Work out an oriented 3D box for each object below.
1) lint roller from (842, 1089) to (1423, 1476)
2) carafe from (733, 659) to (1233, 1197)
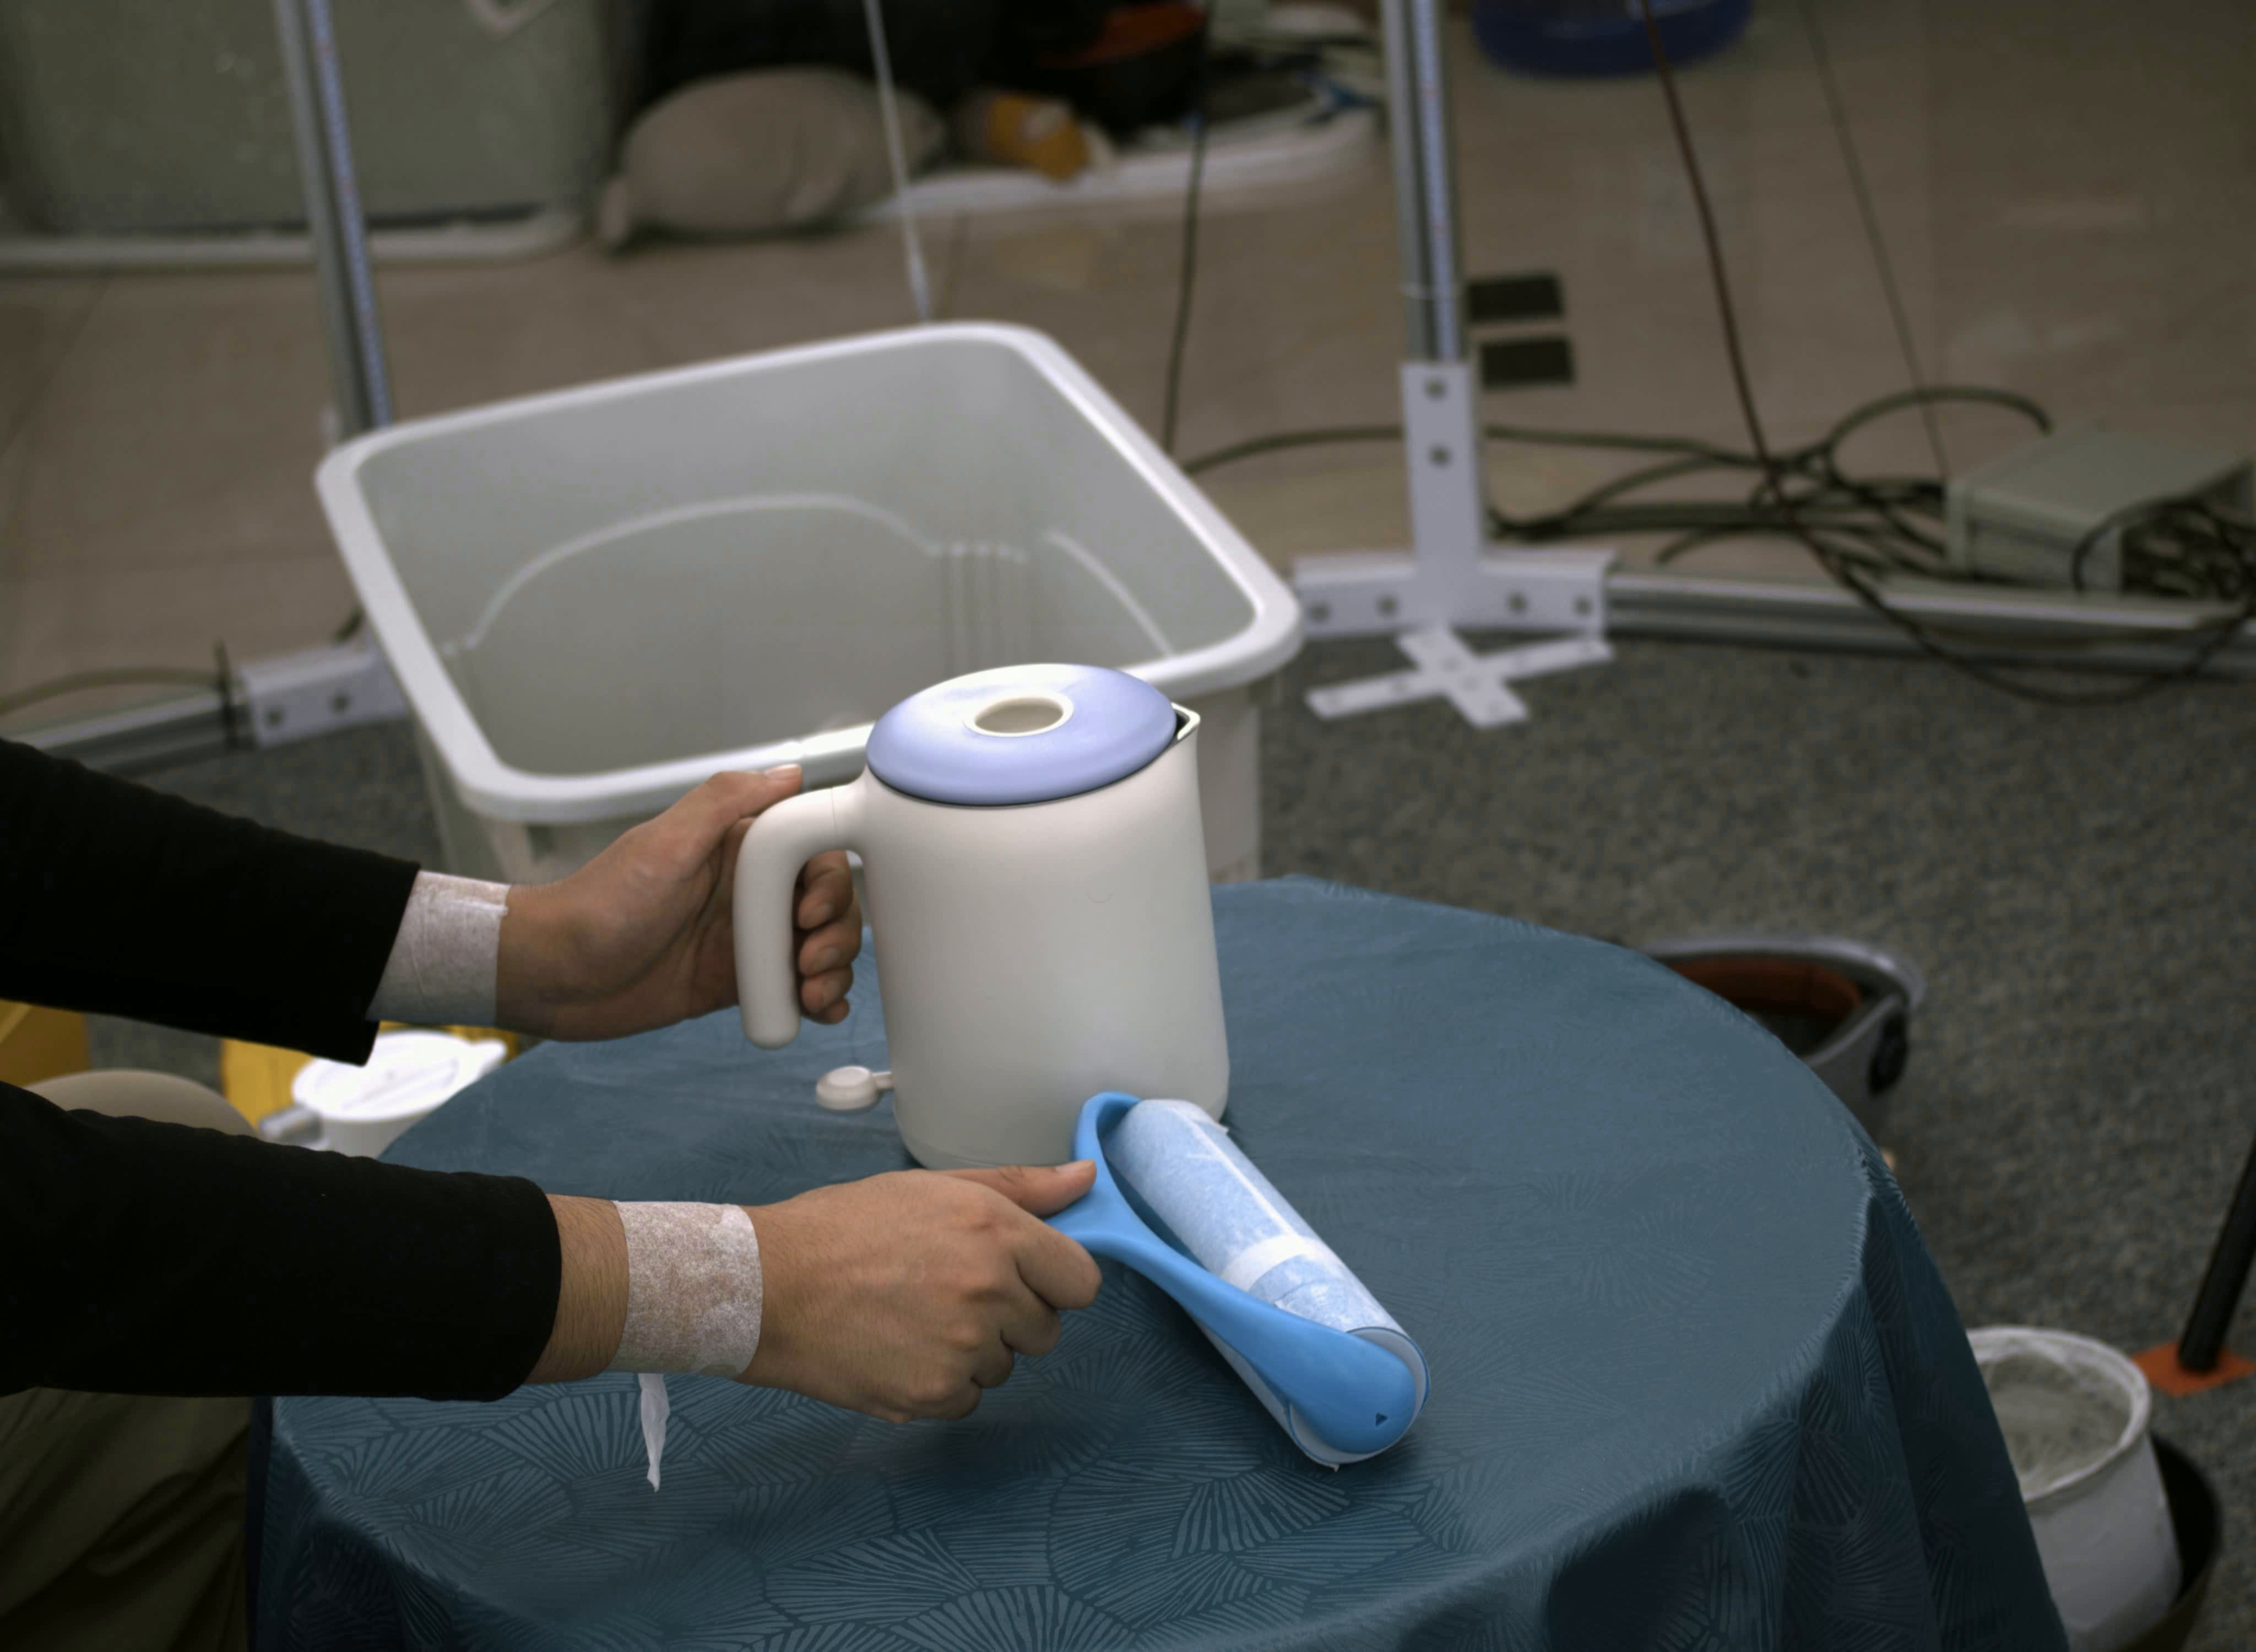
[{"bbox_3d":[-0.011,0.164,2.004,0.180,0.069,0.226,-2,25,-24],"label":"lint roller"},{"bbox_3d":[-0.056,0.042,2.163,0.191,0.185,0.130,-10,25,-3],"label":"carafe"}]
